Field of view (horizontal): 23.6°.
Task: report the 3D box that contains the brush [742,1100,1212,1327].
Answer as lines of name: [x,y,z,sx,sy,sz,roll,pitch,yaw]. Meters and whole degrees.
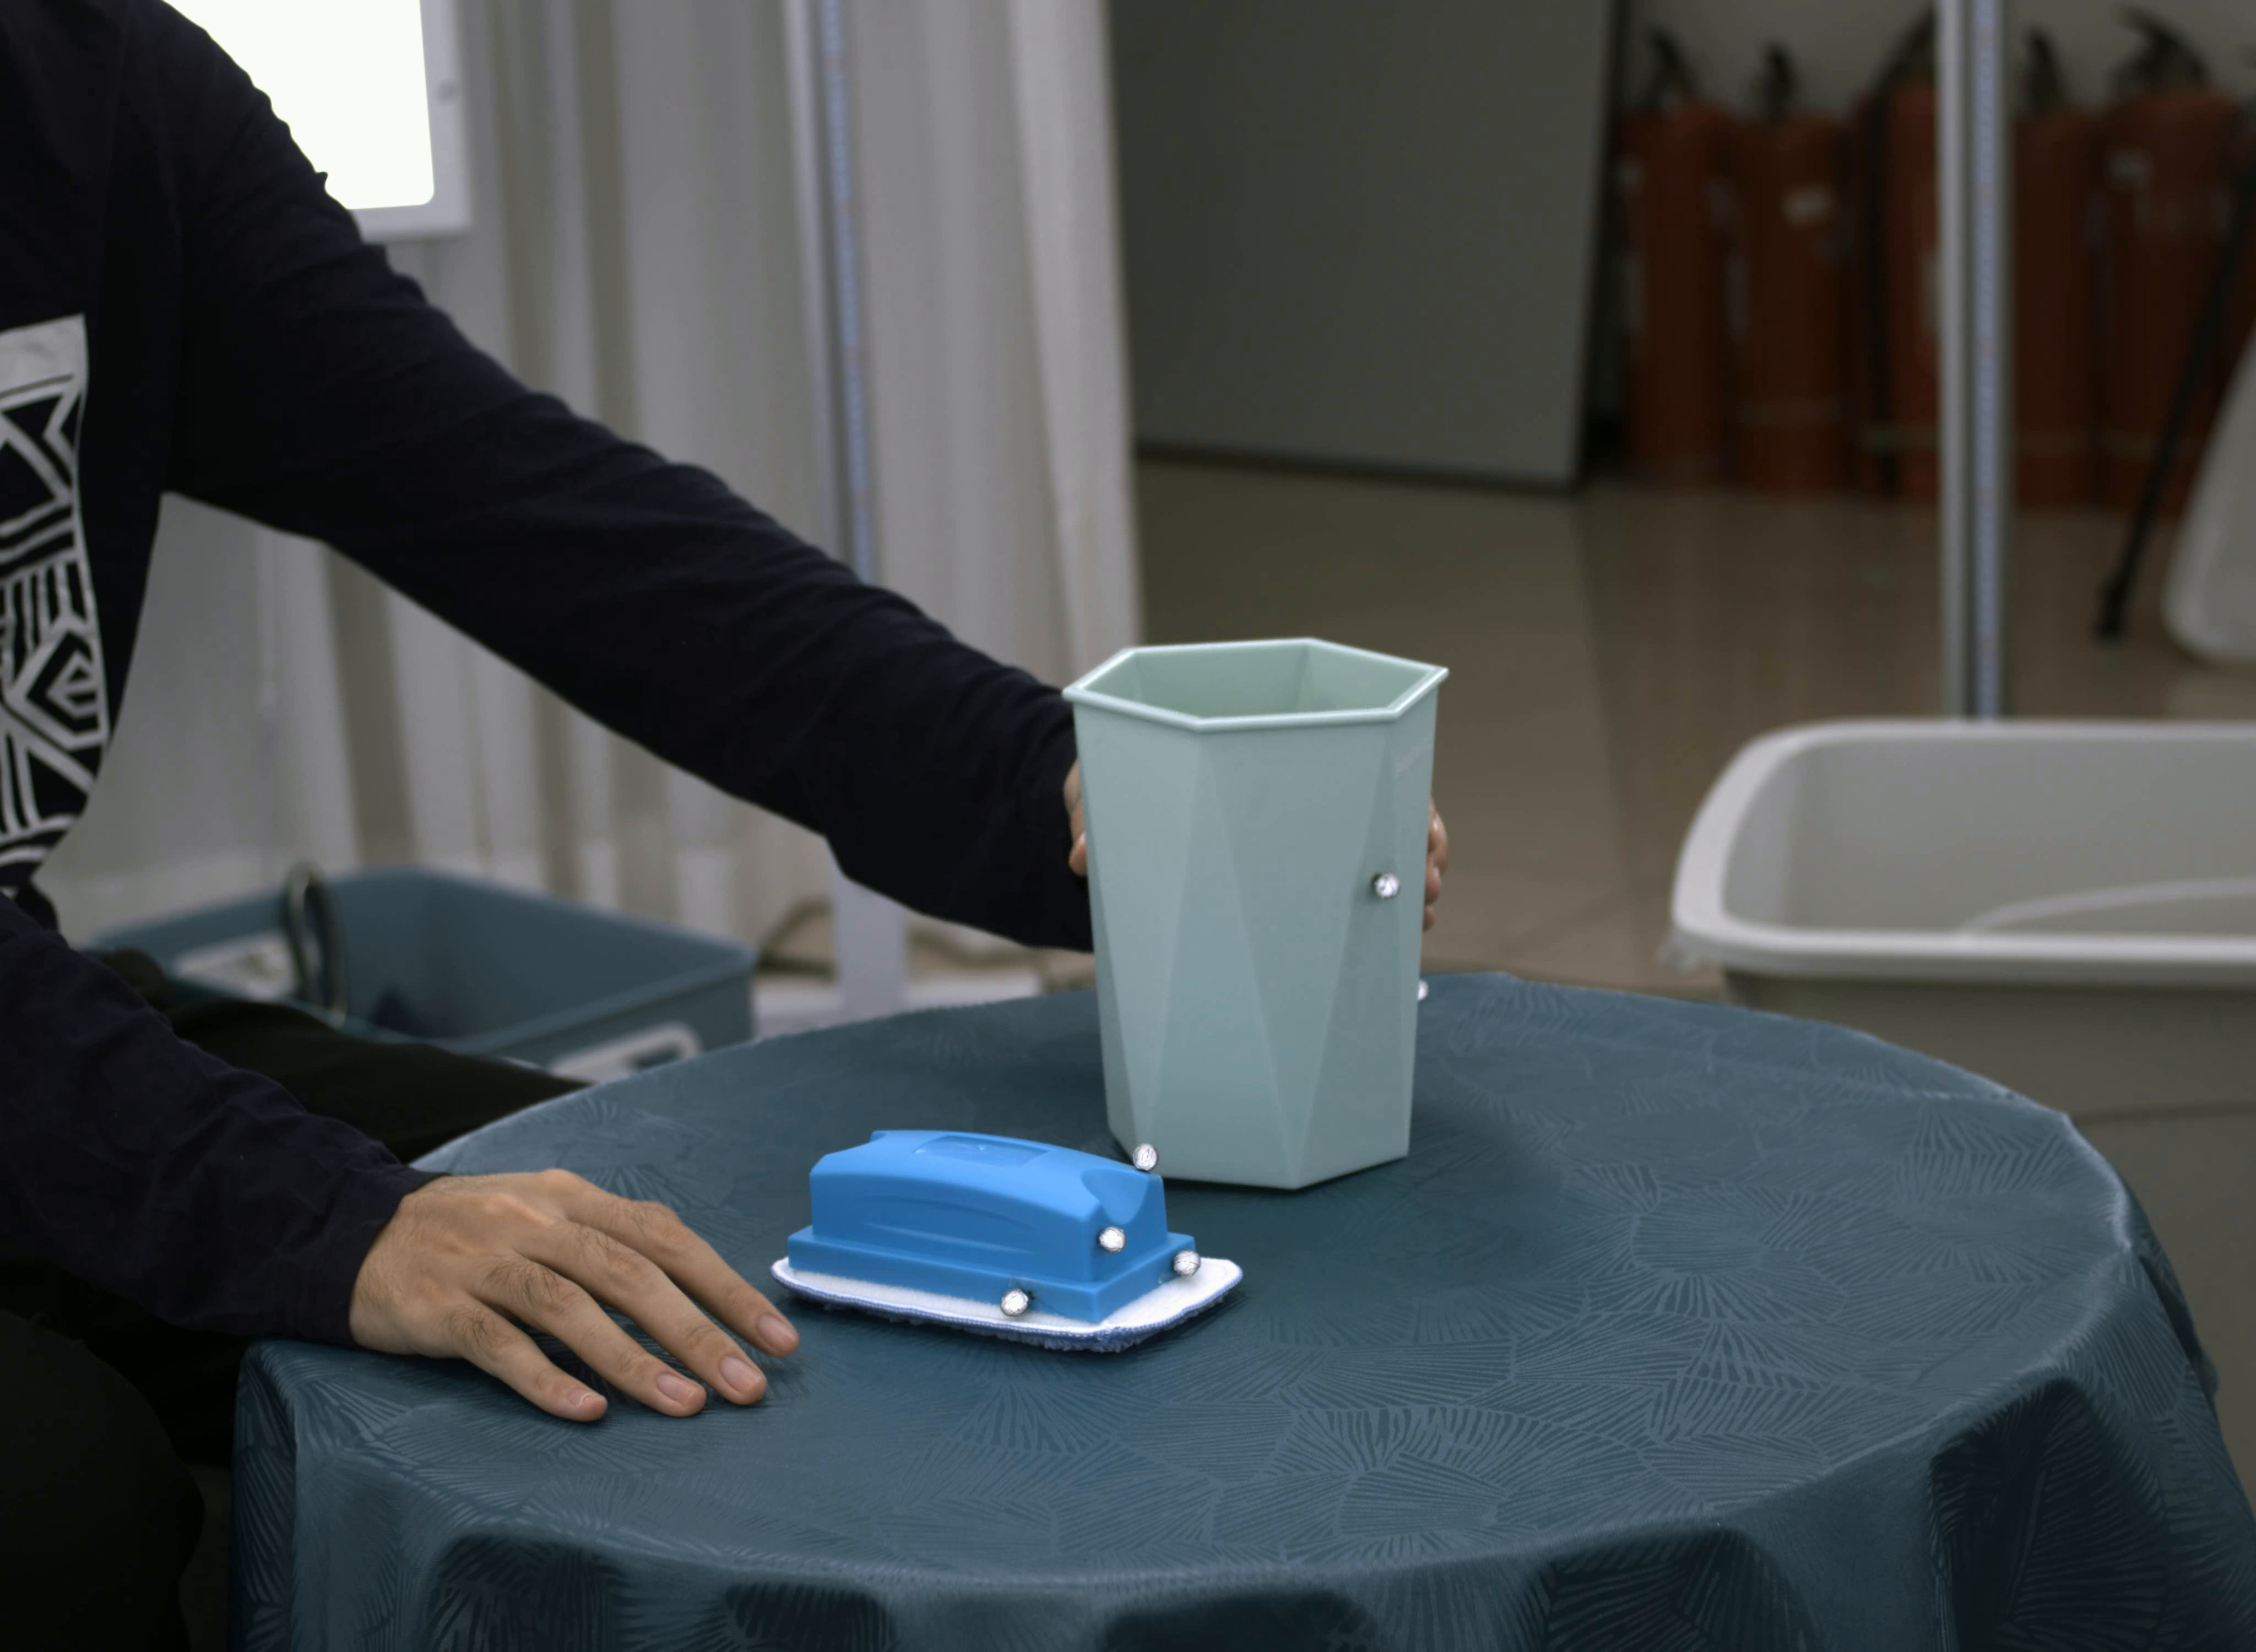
brush: [-0.047,0.118,1.673,0.145,0.056,0.082,10,16,37]

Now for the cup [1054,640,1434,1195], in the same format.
cup: [0.044,0.030,1.786,0.115,0.165,0.130,0,13,18]
